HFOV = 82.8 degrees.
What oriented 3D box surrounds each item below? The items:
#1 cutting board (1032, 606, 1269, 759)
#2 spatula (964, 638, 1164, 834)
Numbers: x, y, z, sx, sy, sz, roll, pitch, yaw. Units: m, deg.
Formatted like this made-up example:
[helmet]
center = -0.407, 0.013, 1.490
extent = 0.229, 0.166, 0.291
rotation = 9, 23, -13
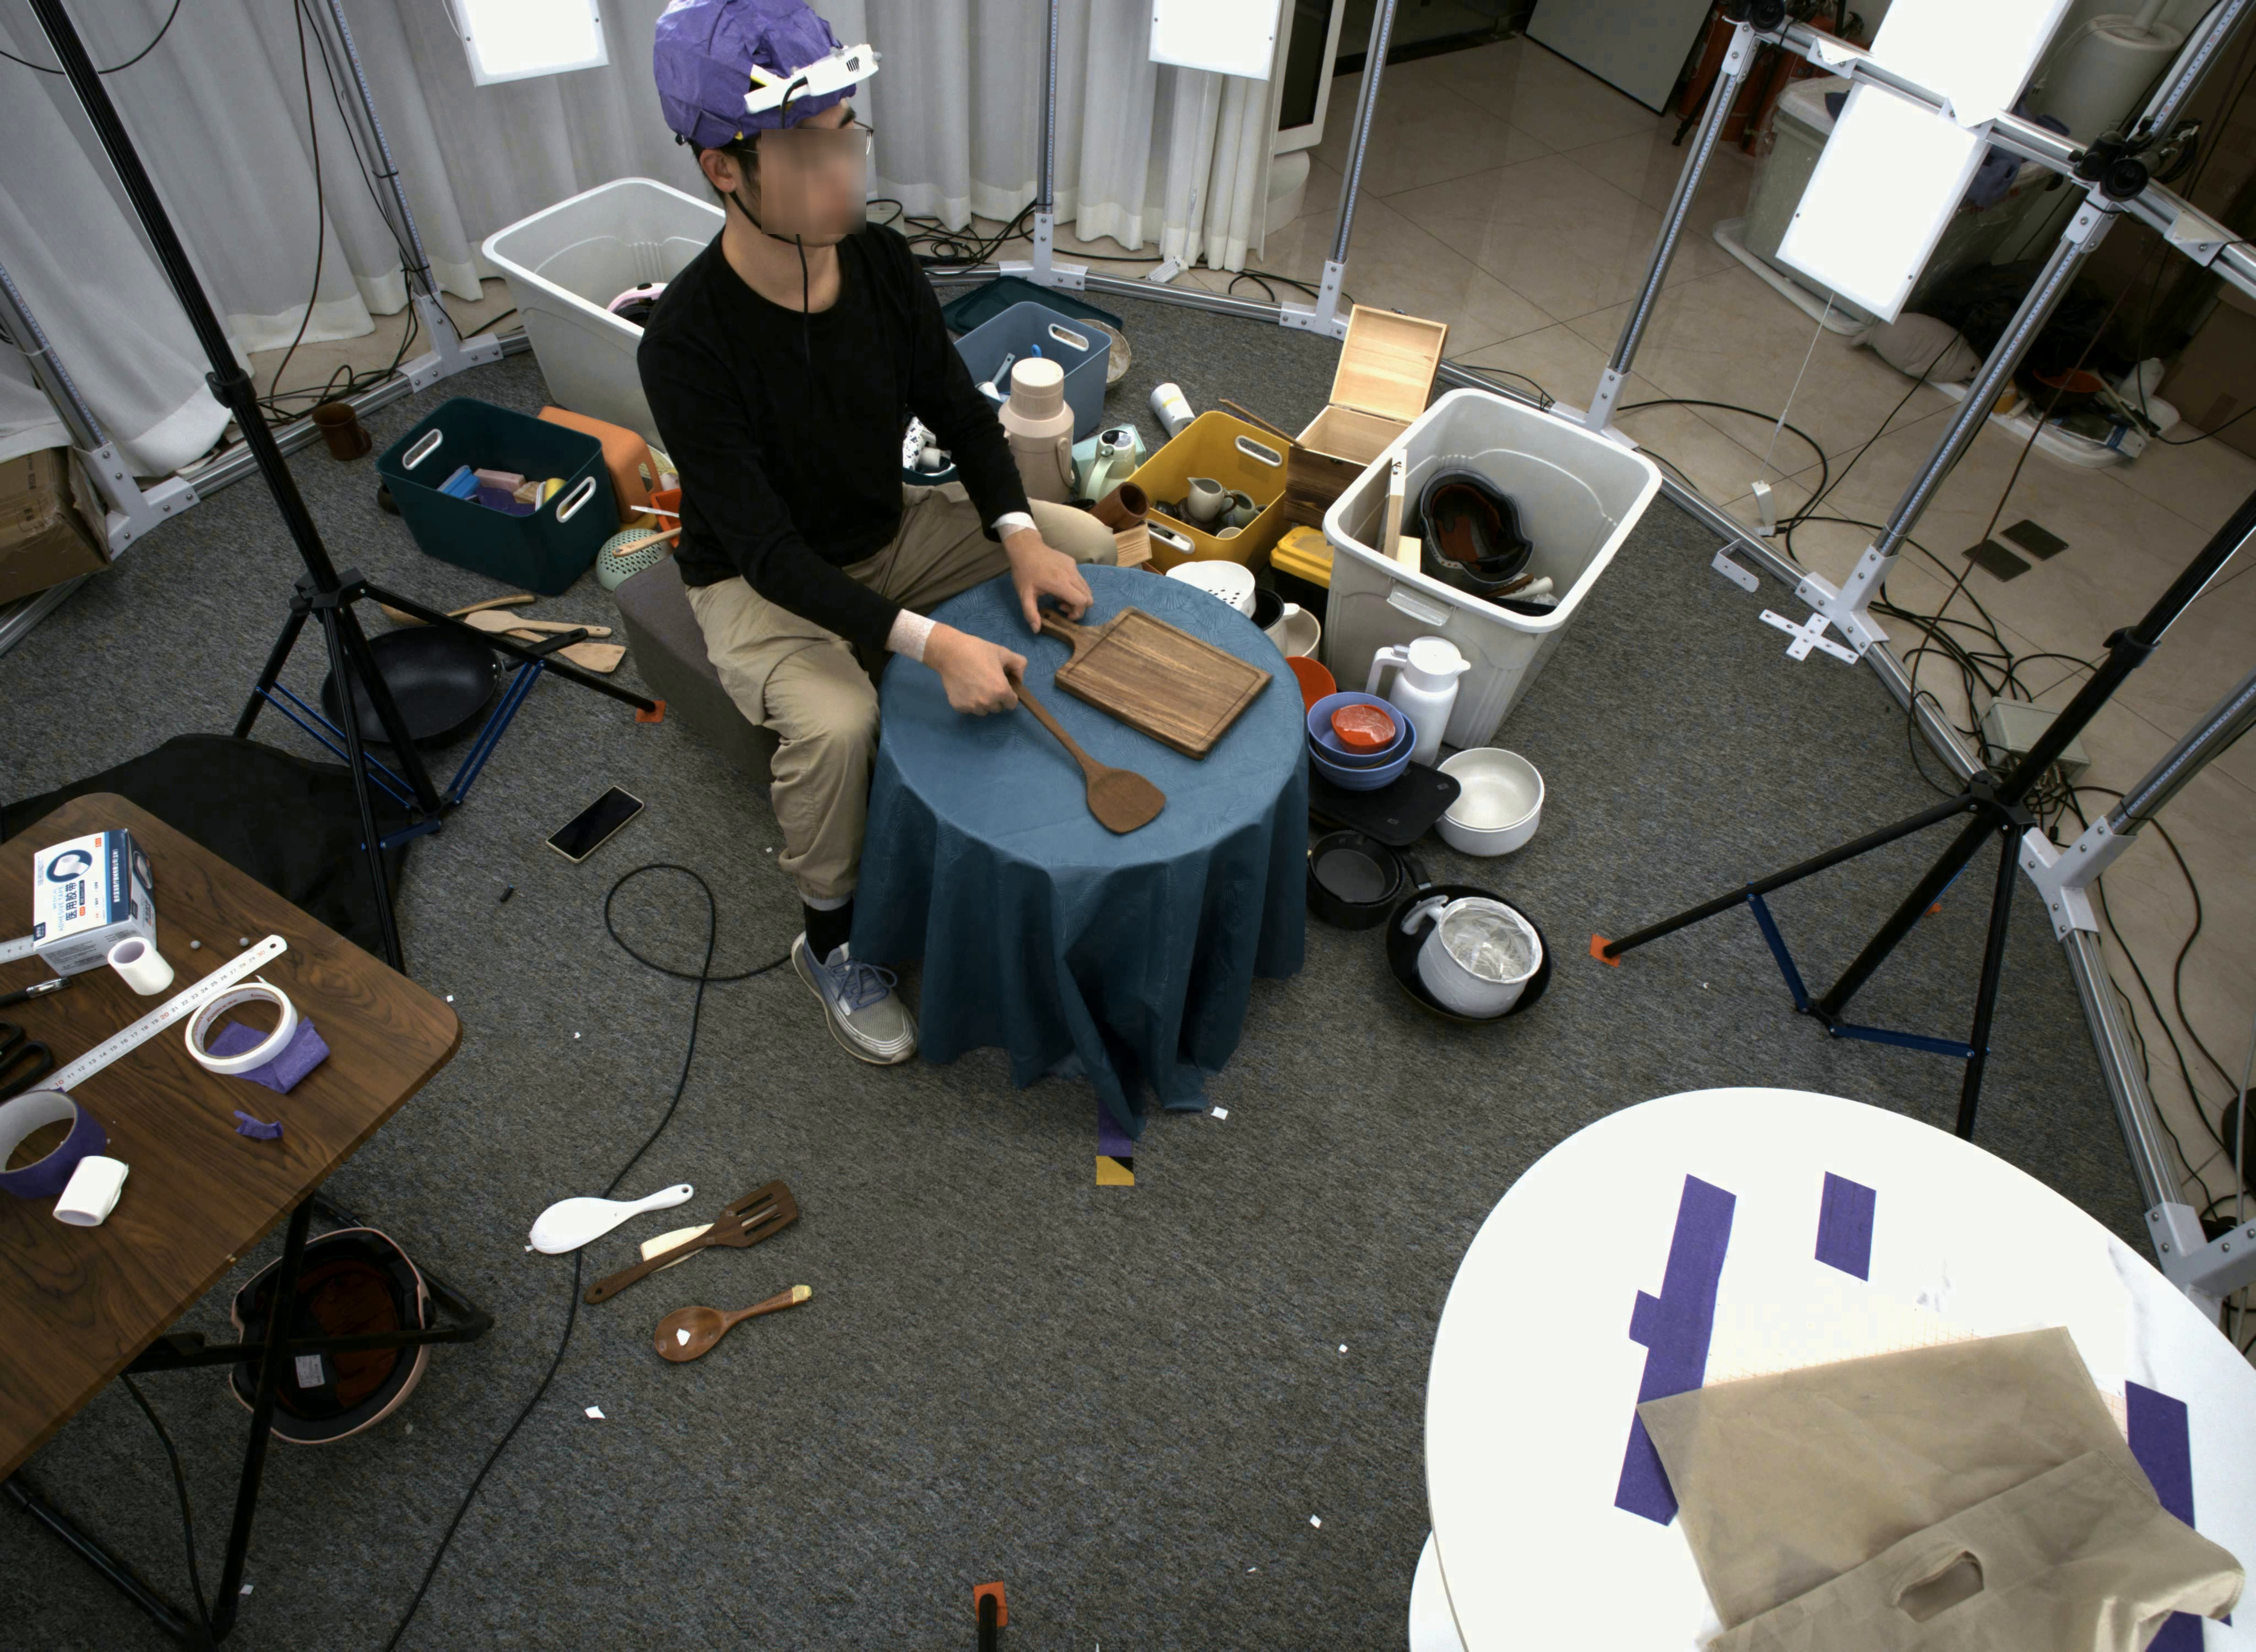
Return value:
[cutting board]
center = 0.009, -0.235, 1.860
extent = 0.355, 0.022, 0.204
rotation = 28, 53, 19
[spatula]
center = -0.103, -0.133, 1.744
extent = 0.097, 0.015, 0.391
rotation = -33, 66, -25
